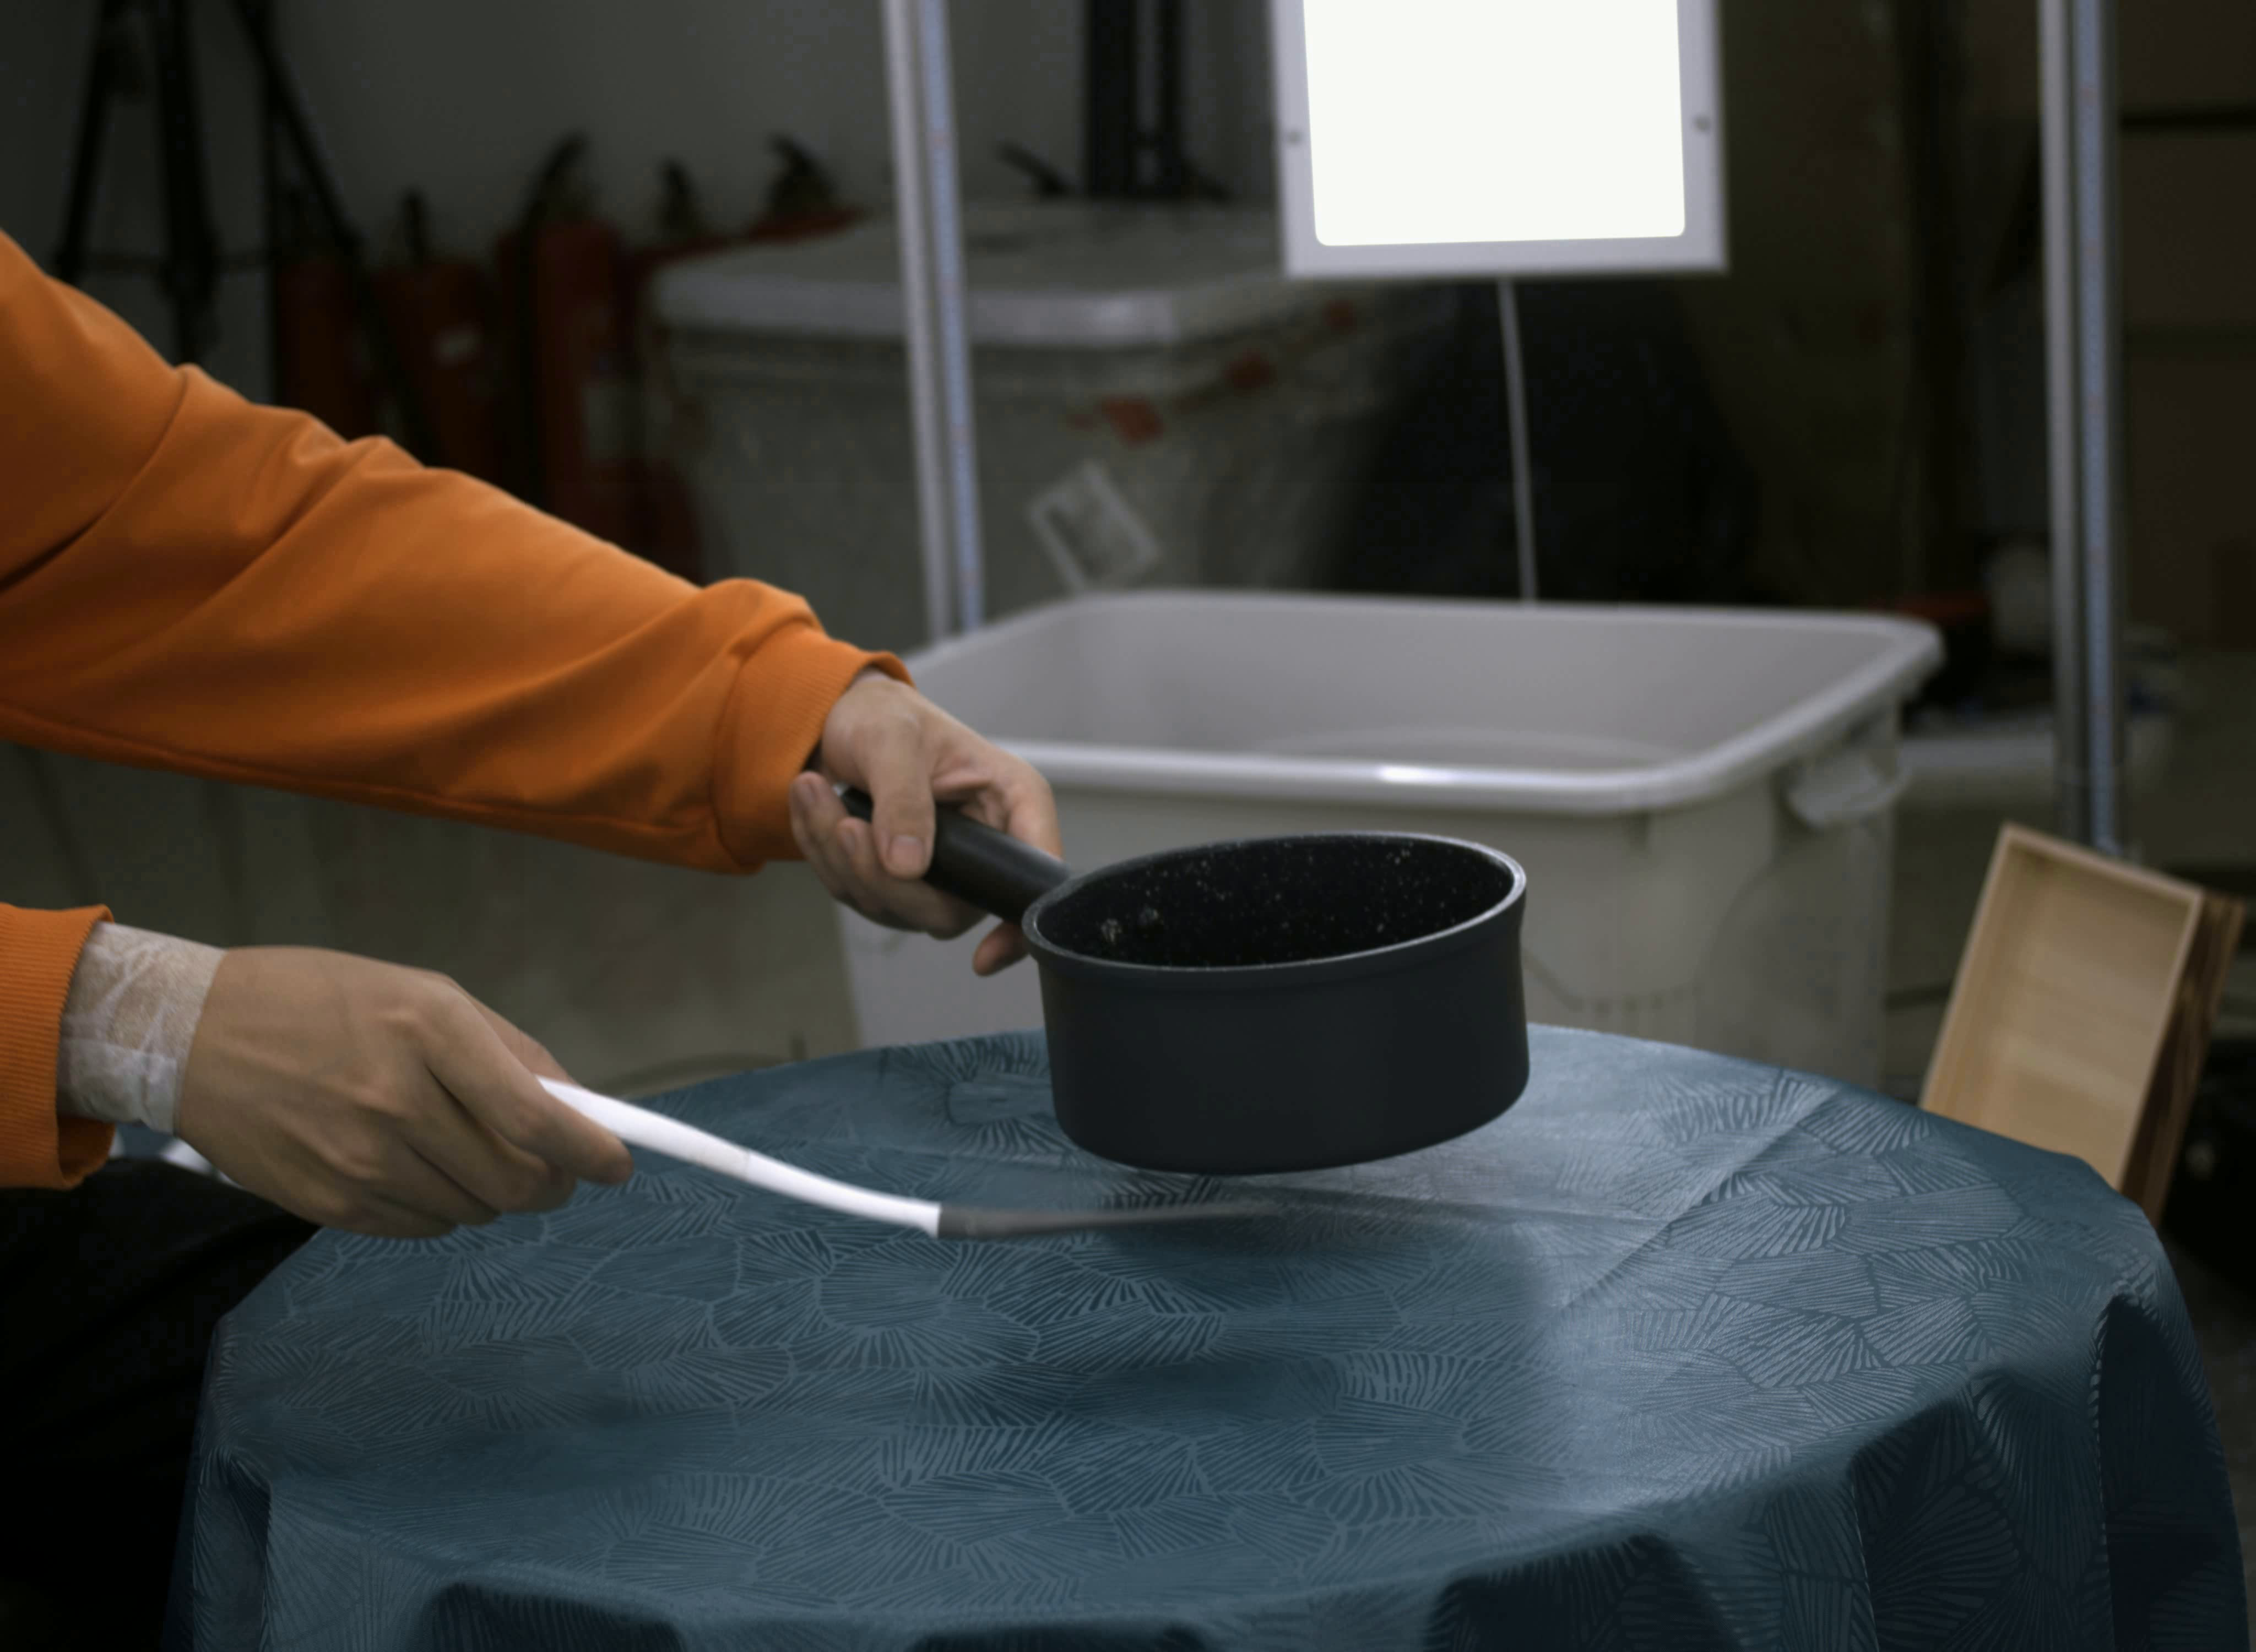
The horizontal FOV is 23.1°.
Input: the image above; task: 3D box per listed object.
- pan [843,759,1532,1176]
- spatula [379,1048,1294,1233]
[{"bbox_3d":[0.005,0.044,1.929,0.168,0.087,0.335,-15,18,-33],"label":"pan"},{"bbox_3d":[-0.091,0.105,1.719,0.288,0.032,0.058,8,-7,8],"label":"spatula"}]
